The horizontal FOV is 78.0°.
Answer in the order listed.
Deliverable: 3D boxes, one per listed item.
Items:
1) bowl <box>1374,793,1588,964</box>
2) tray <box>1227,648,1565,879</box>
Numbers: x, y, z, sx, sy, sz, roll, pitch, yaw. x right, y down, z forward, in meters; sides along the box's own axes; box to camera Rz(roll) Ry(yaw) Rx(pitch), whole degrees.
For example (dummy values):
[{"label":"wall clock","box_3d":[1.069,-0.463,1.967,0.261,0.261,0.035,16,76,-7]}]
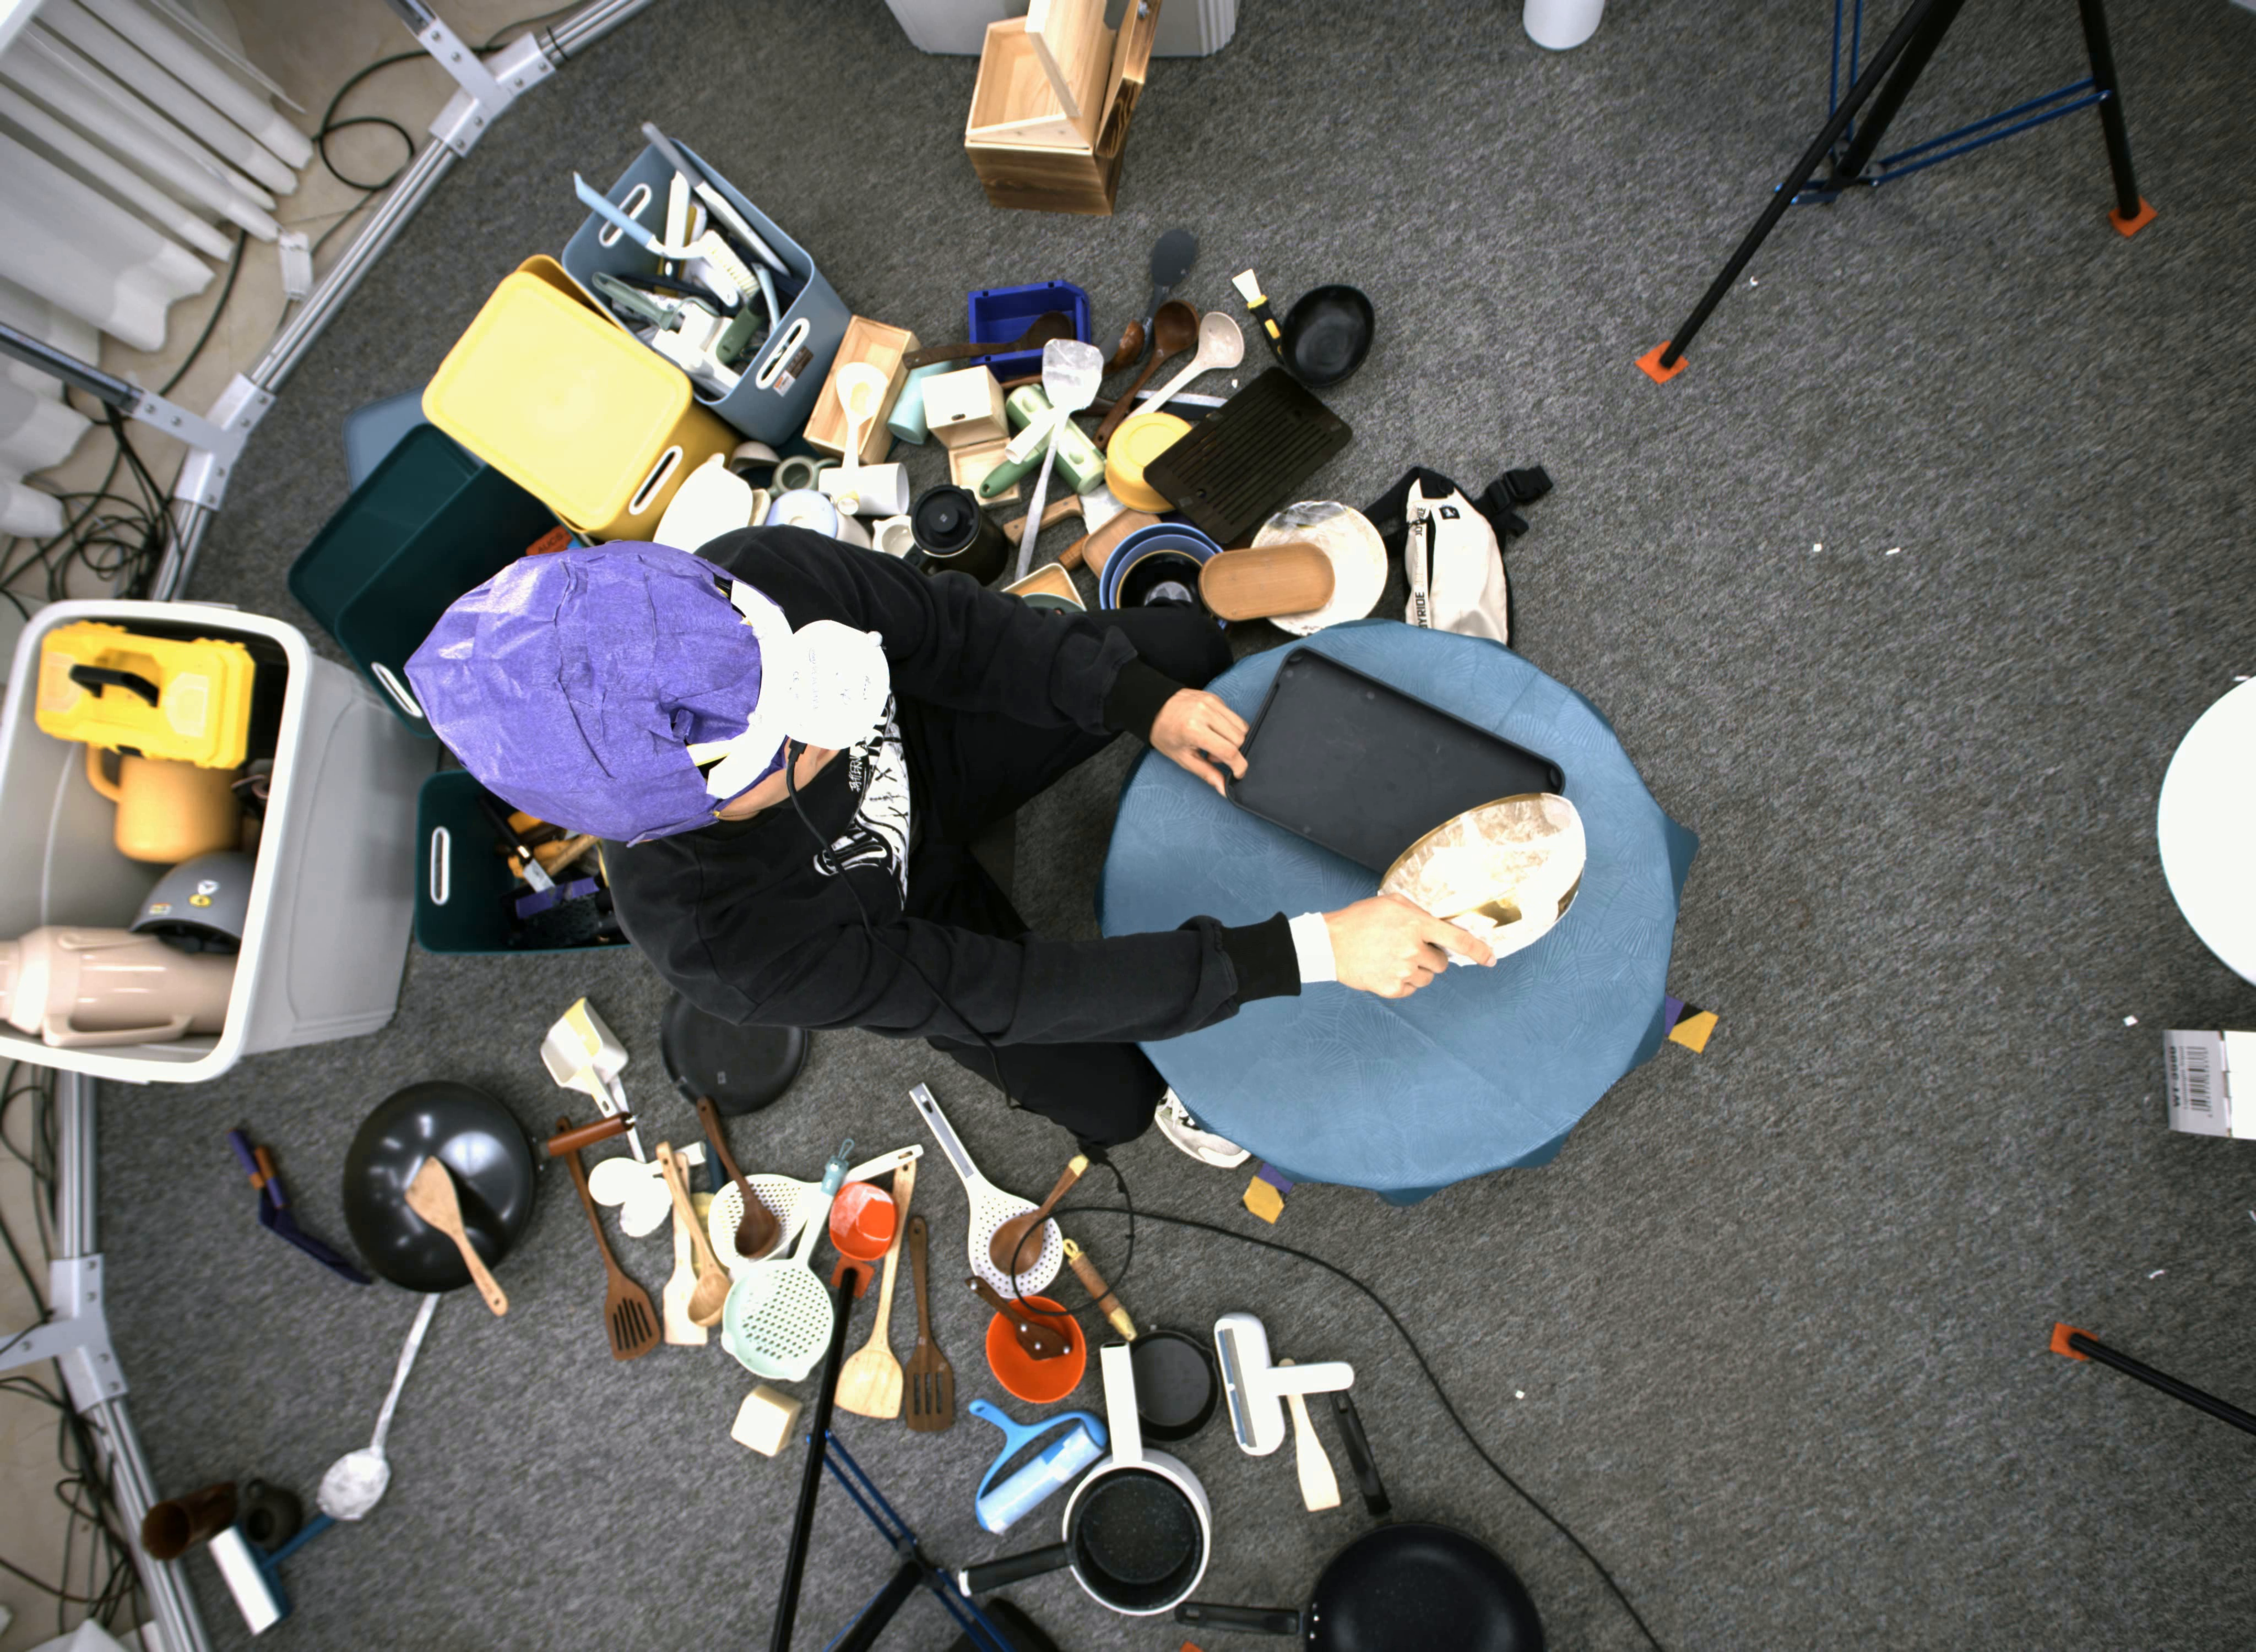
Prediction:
[{"label":"bowl","box_3d":[0.344,0.062,1.299,0.216,0.211,0.095,-33,108,5]},{"label":"tray","box_3d":[0.277,-0.040,1.433,0.318,0.037,0.184,27,89,2]}]
